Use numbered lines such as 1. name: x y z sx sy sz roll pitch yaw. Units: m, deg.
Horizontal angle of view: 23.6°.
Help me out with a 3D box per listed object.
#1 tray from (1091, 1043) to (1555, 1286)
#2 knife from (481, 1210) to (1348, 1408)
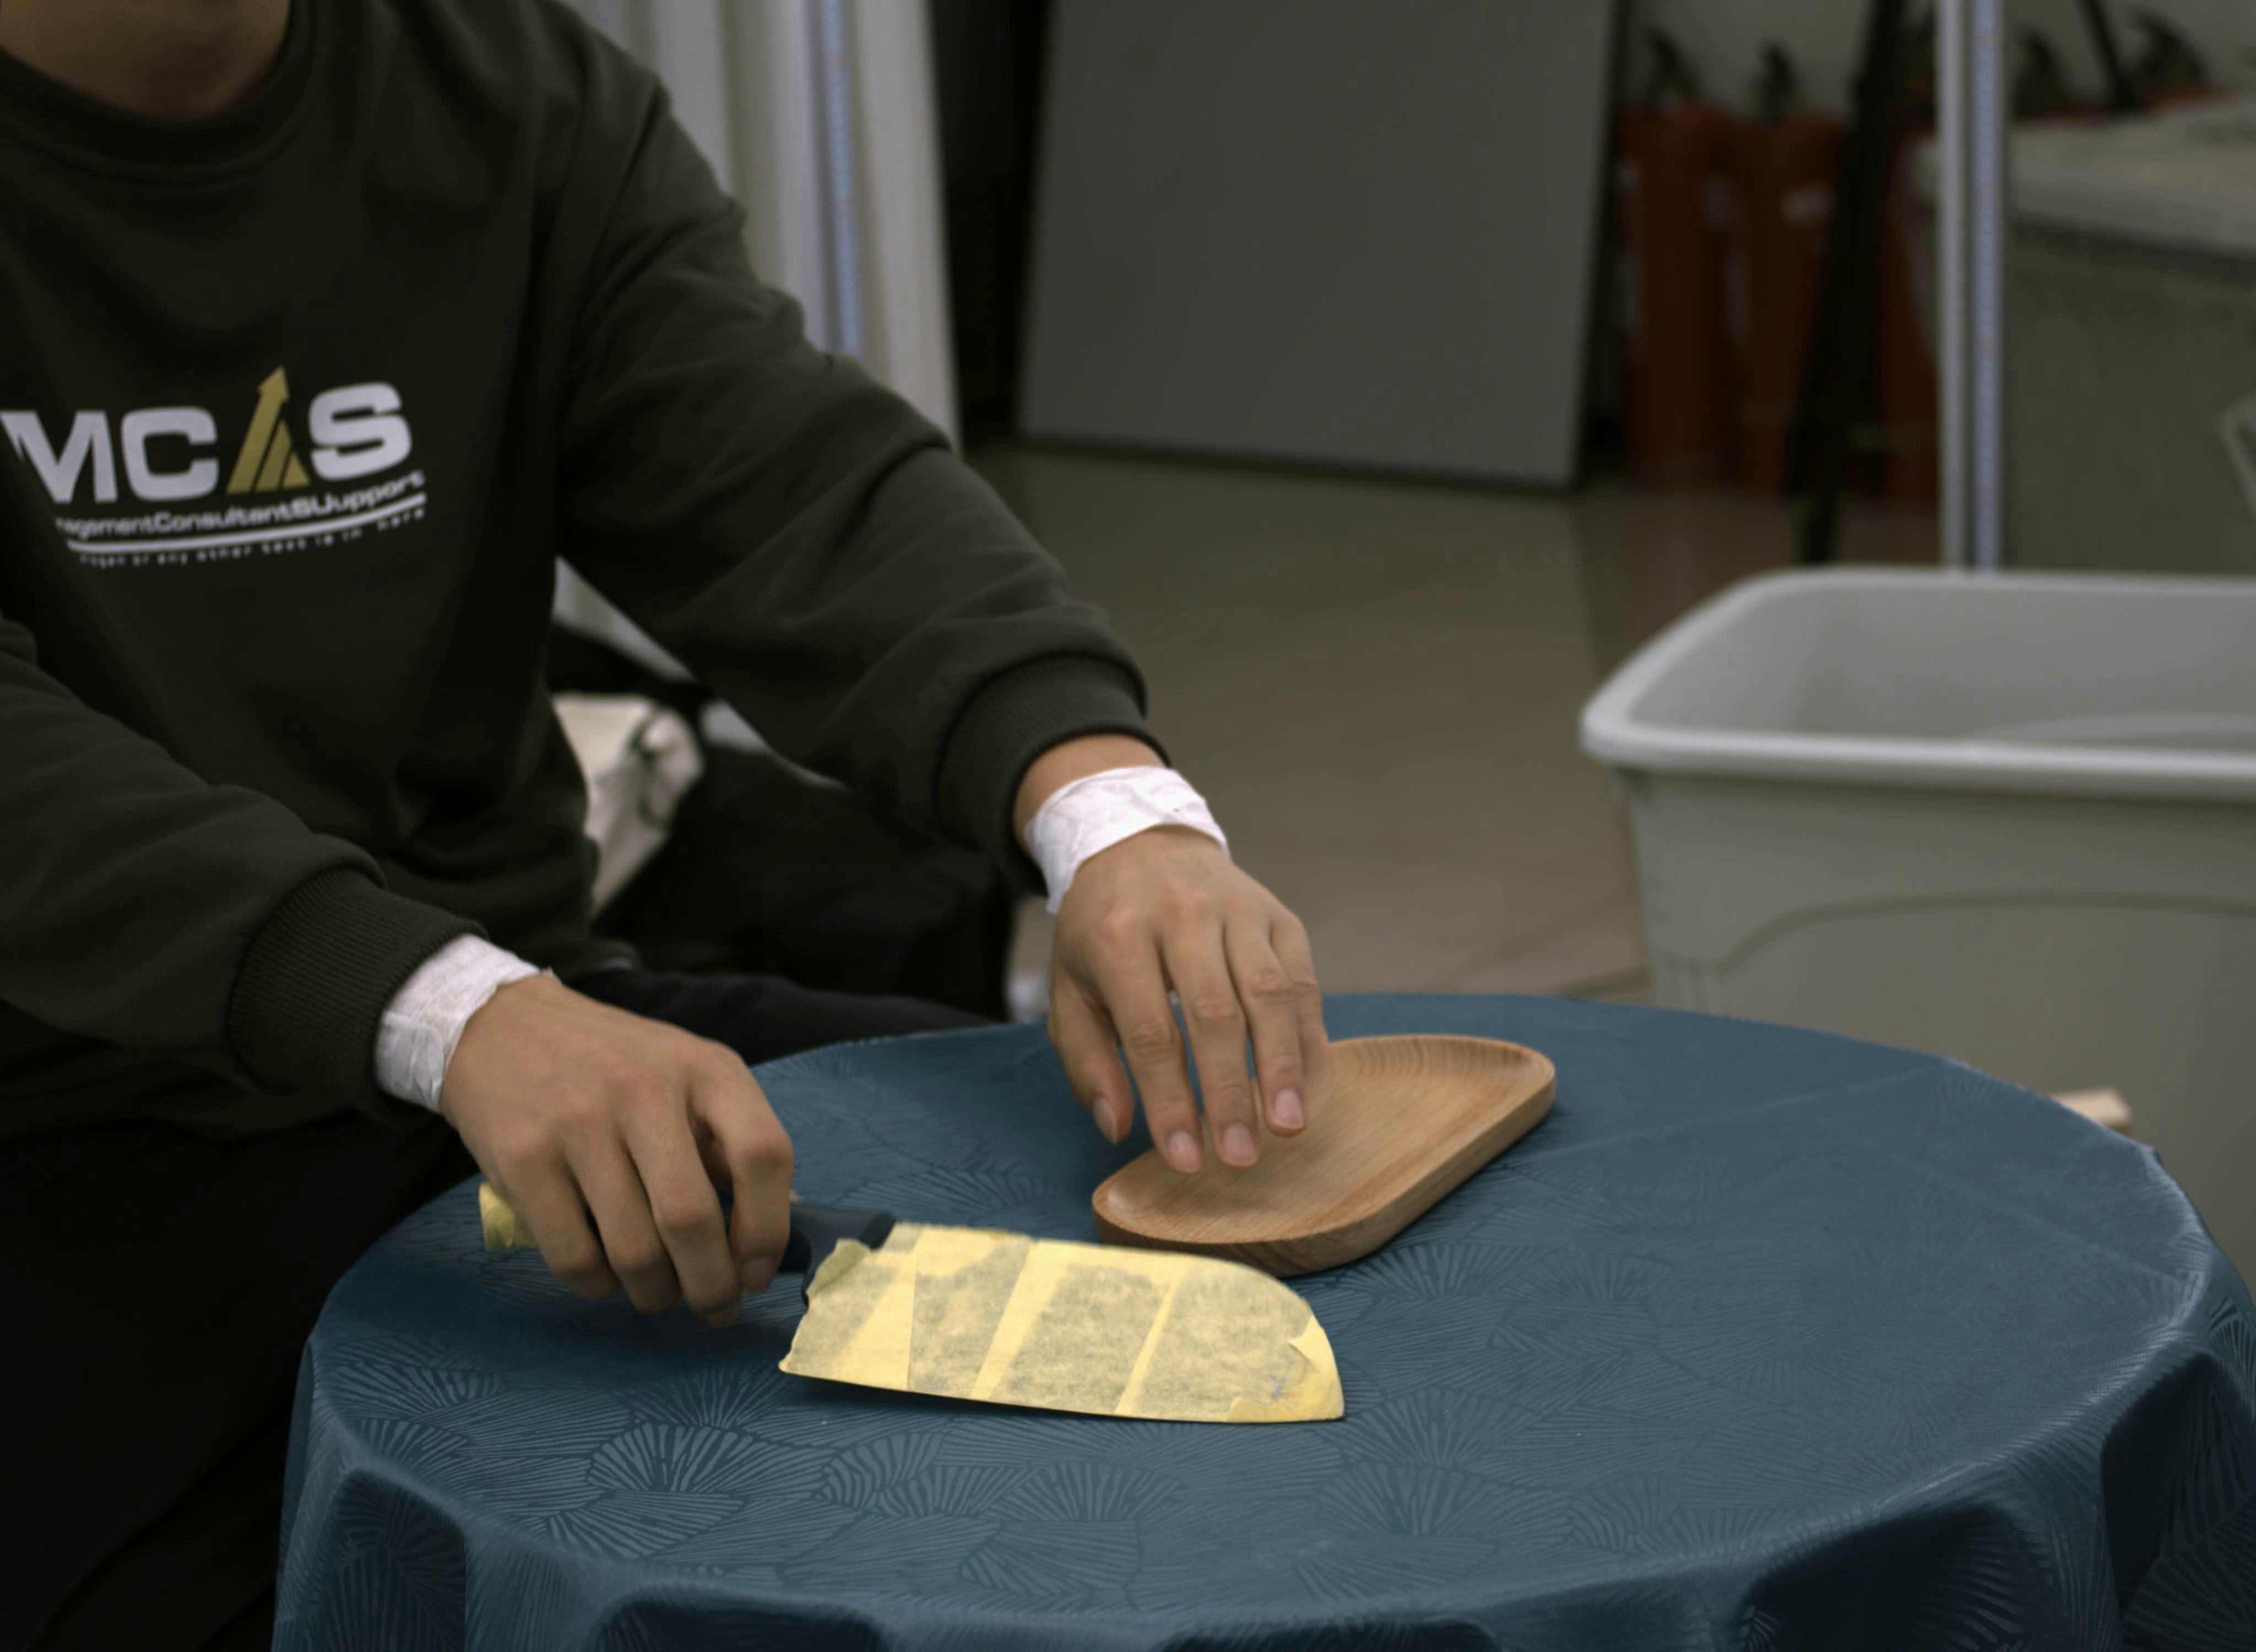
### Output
1. tray: 0.067 0.109 1.770 0.102 0.020 0.228 1 16 27
2. knife: -0.069 0.146 1.616 0.289 0.027 0.080 5 31 22
